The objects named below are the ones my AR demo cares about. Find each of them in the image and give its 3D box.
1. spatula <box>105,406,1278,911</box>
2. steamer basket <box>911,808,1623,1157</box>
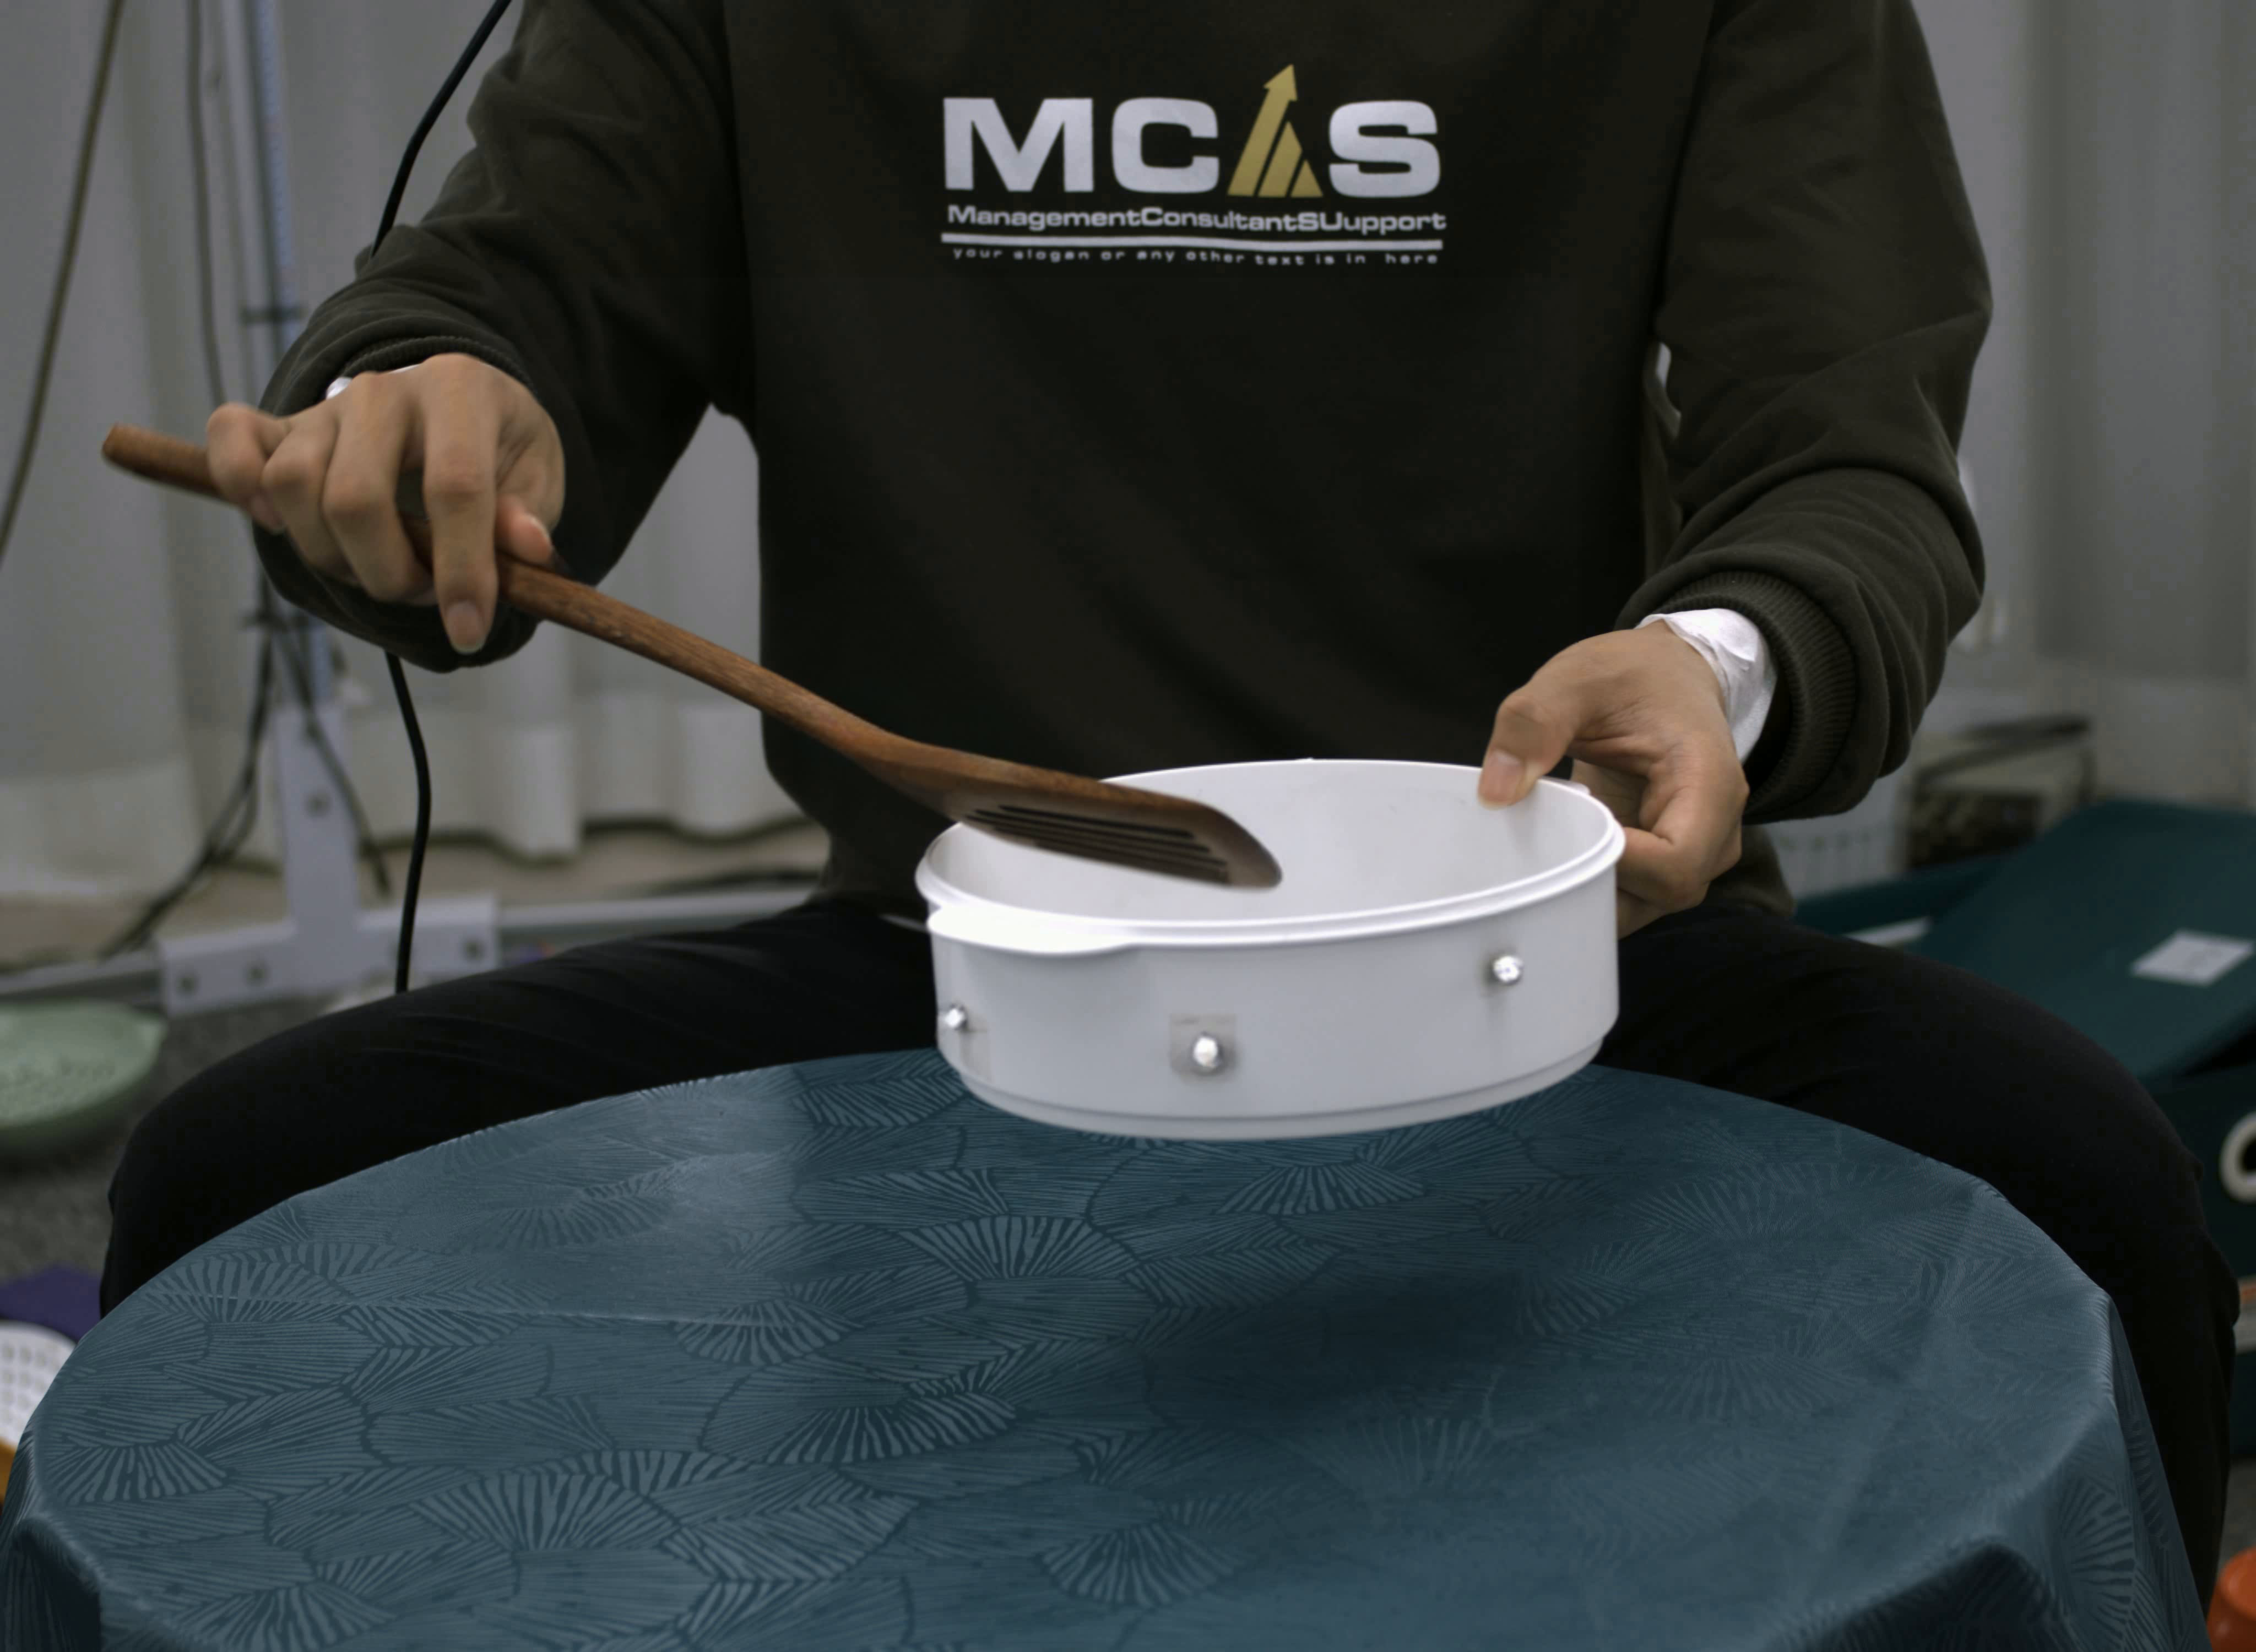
[{"bbox_3d":[-0.134,-0.050,1.577,0.386,0.024,0.085,23,-14,18],"label":"spatula"},{"bbox_3d":[0.039,0.044,1.549,0.203,0.069,0.230,8,13,43],"label":"steamer basket"}]
